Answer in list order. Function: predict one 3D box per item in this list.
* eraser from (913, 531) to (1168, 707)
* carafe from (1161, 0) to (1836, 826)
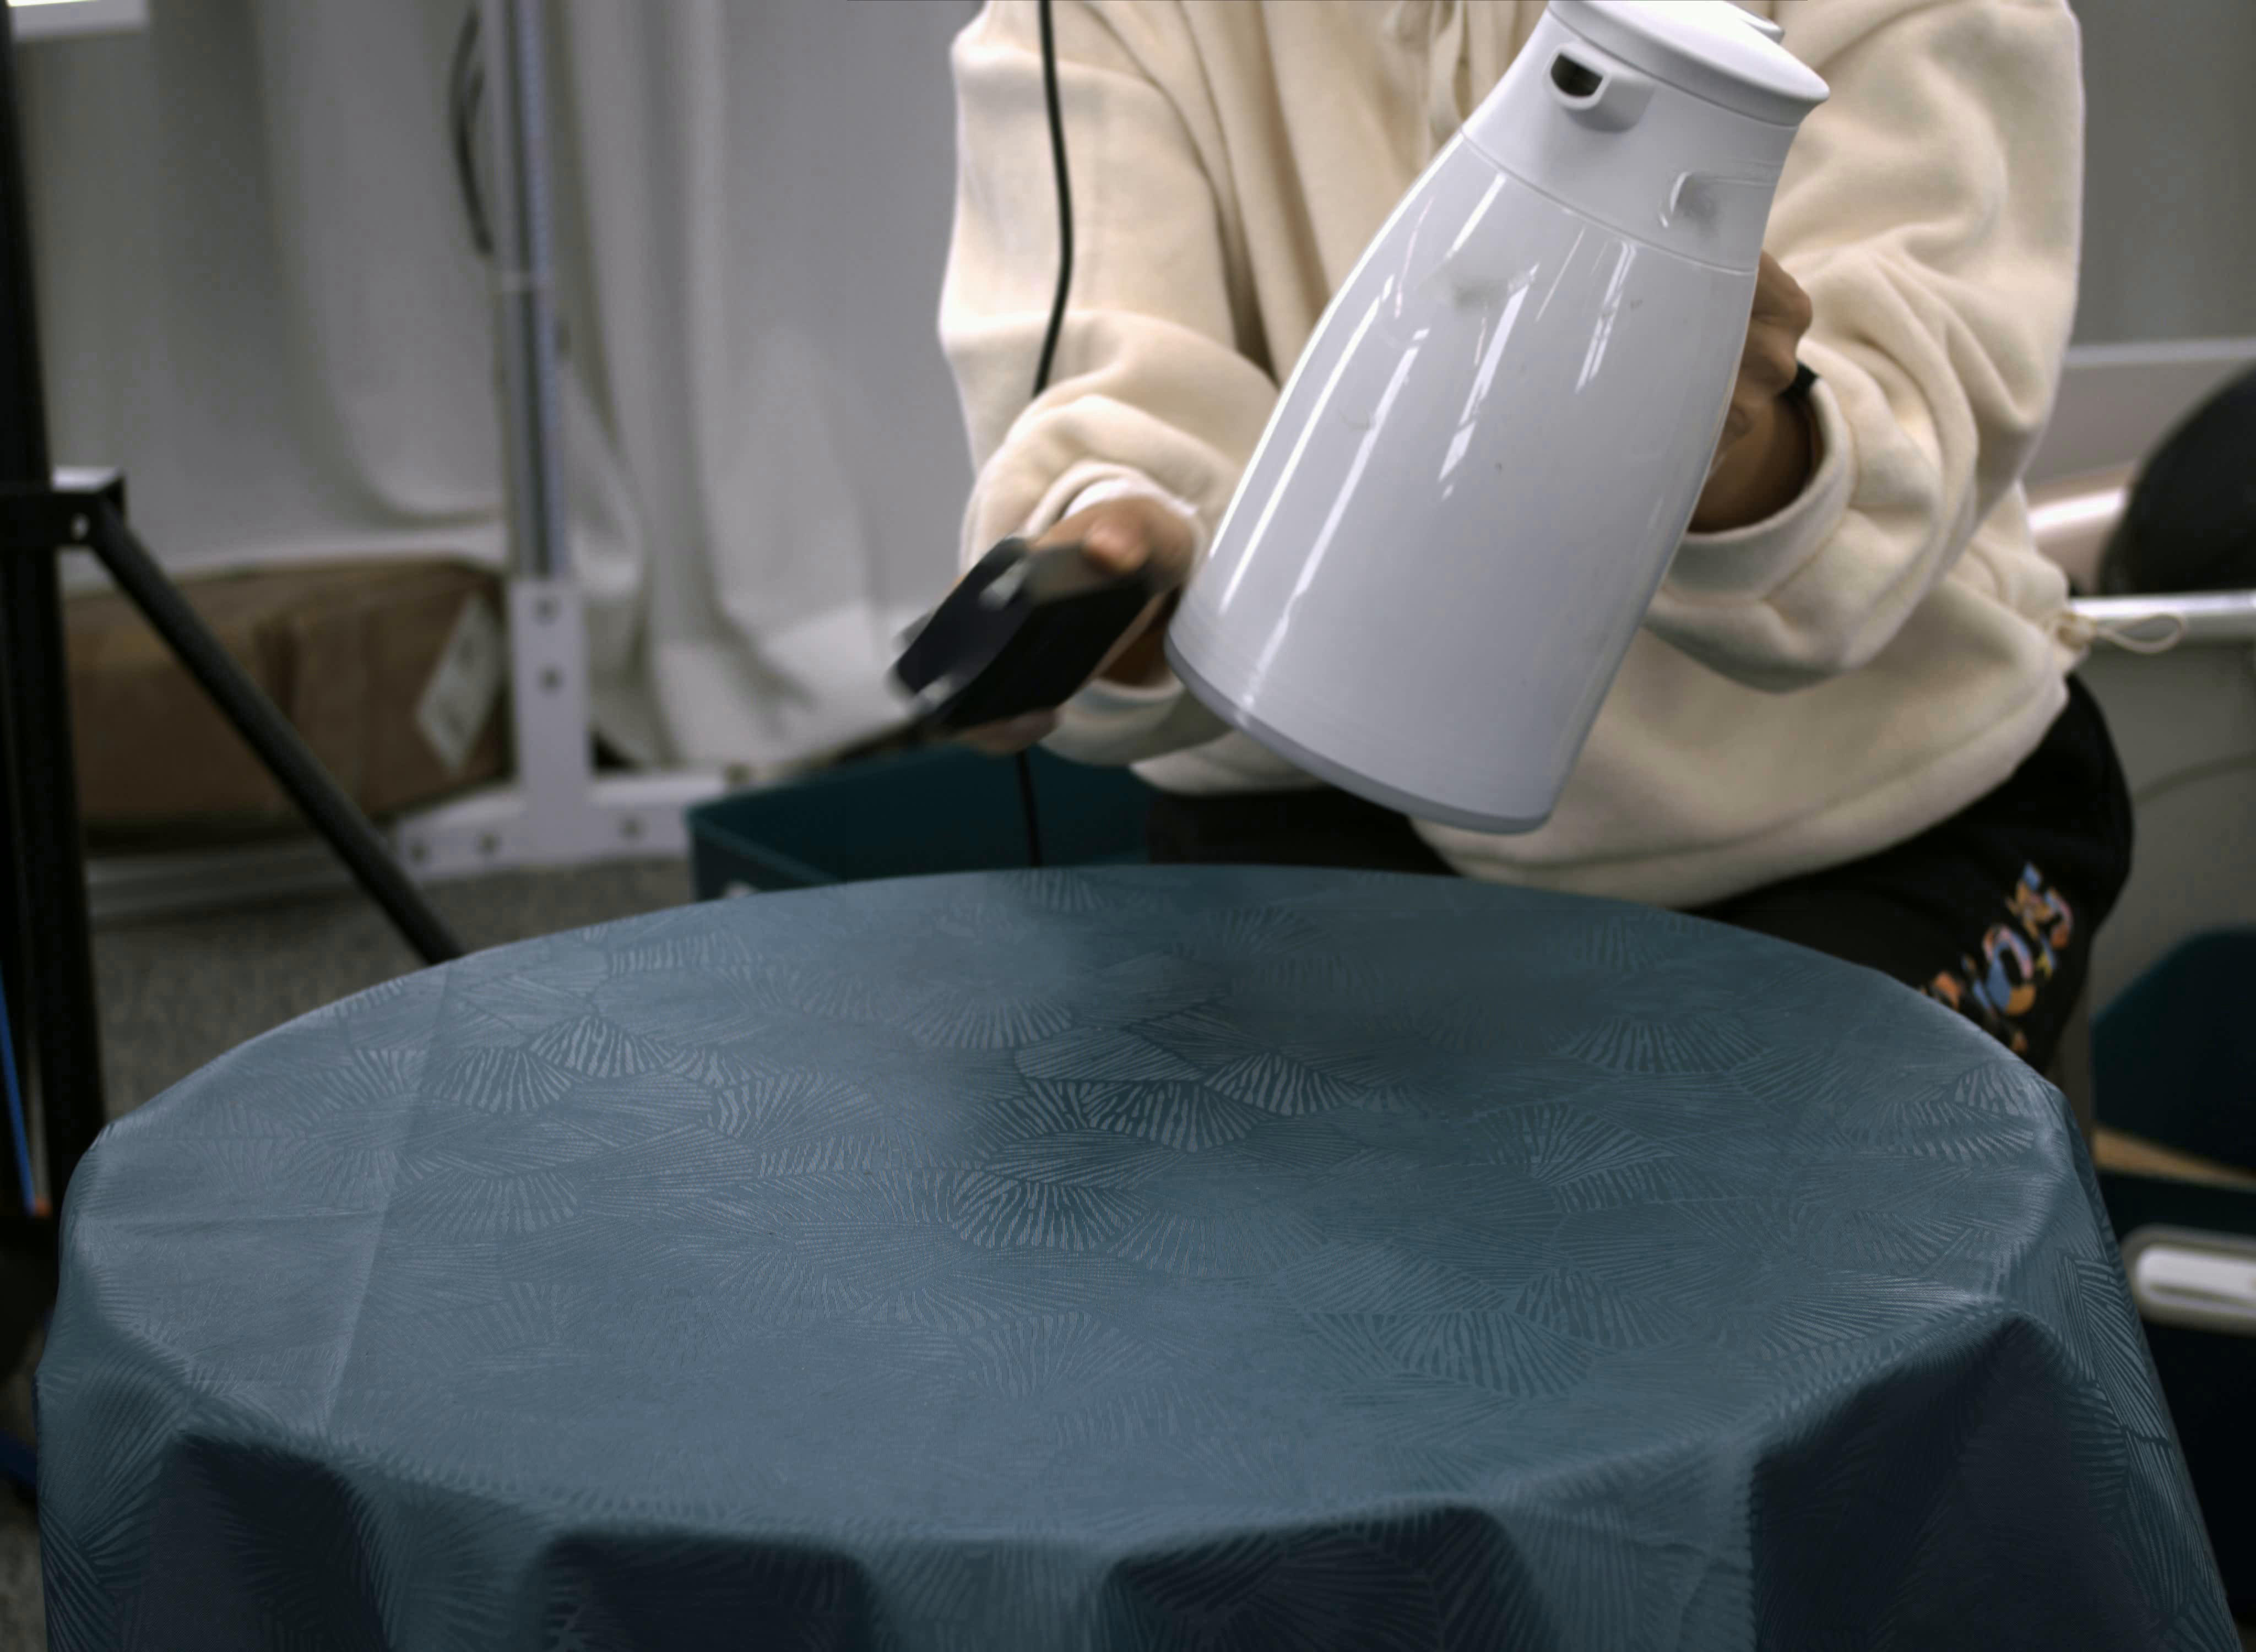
[{"bbox_3d":[-0.025,-0.065,1.649,0.030,0.054,0.124,43,11,8],"label":"eraser"},{"bbox_3d":[0.129,-0.141,1.627,0.135,0.249,0.164,33,18,23],"label":"carafe"}]
